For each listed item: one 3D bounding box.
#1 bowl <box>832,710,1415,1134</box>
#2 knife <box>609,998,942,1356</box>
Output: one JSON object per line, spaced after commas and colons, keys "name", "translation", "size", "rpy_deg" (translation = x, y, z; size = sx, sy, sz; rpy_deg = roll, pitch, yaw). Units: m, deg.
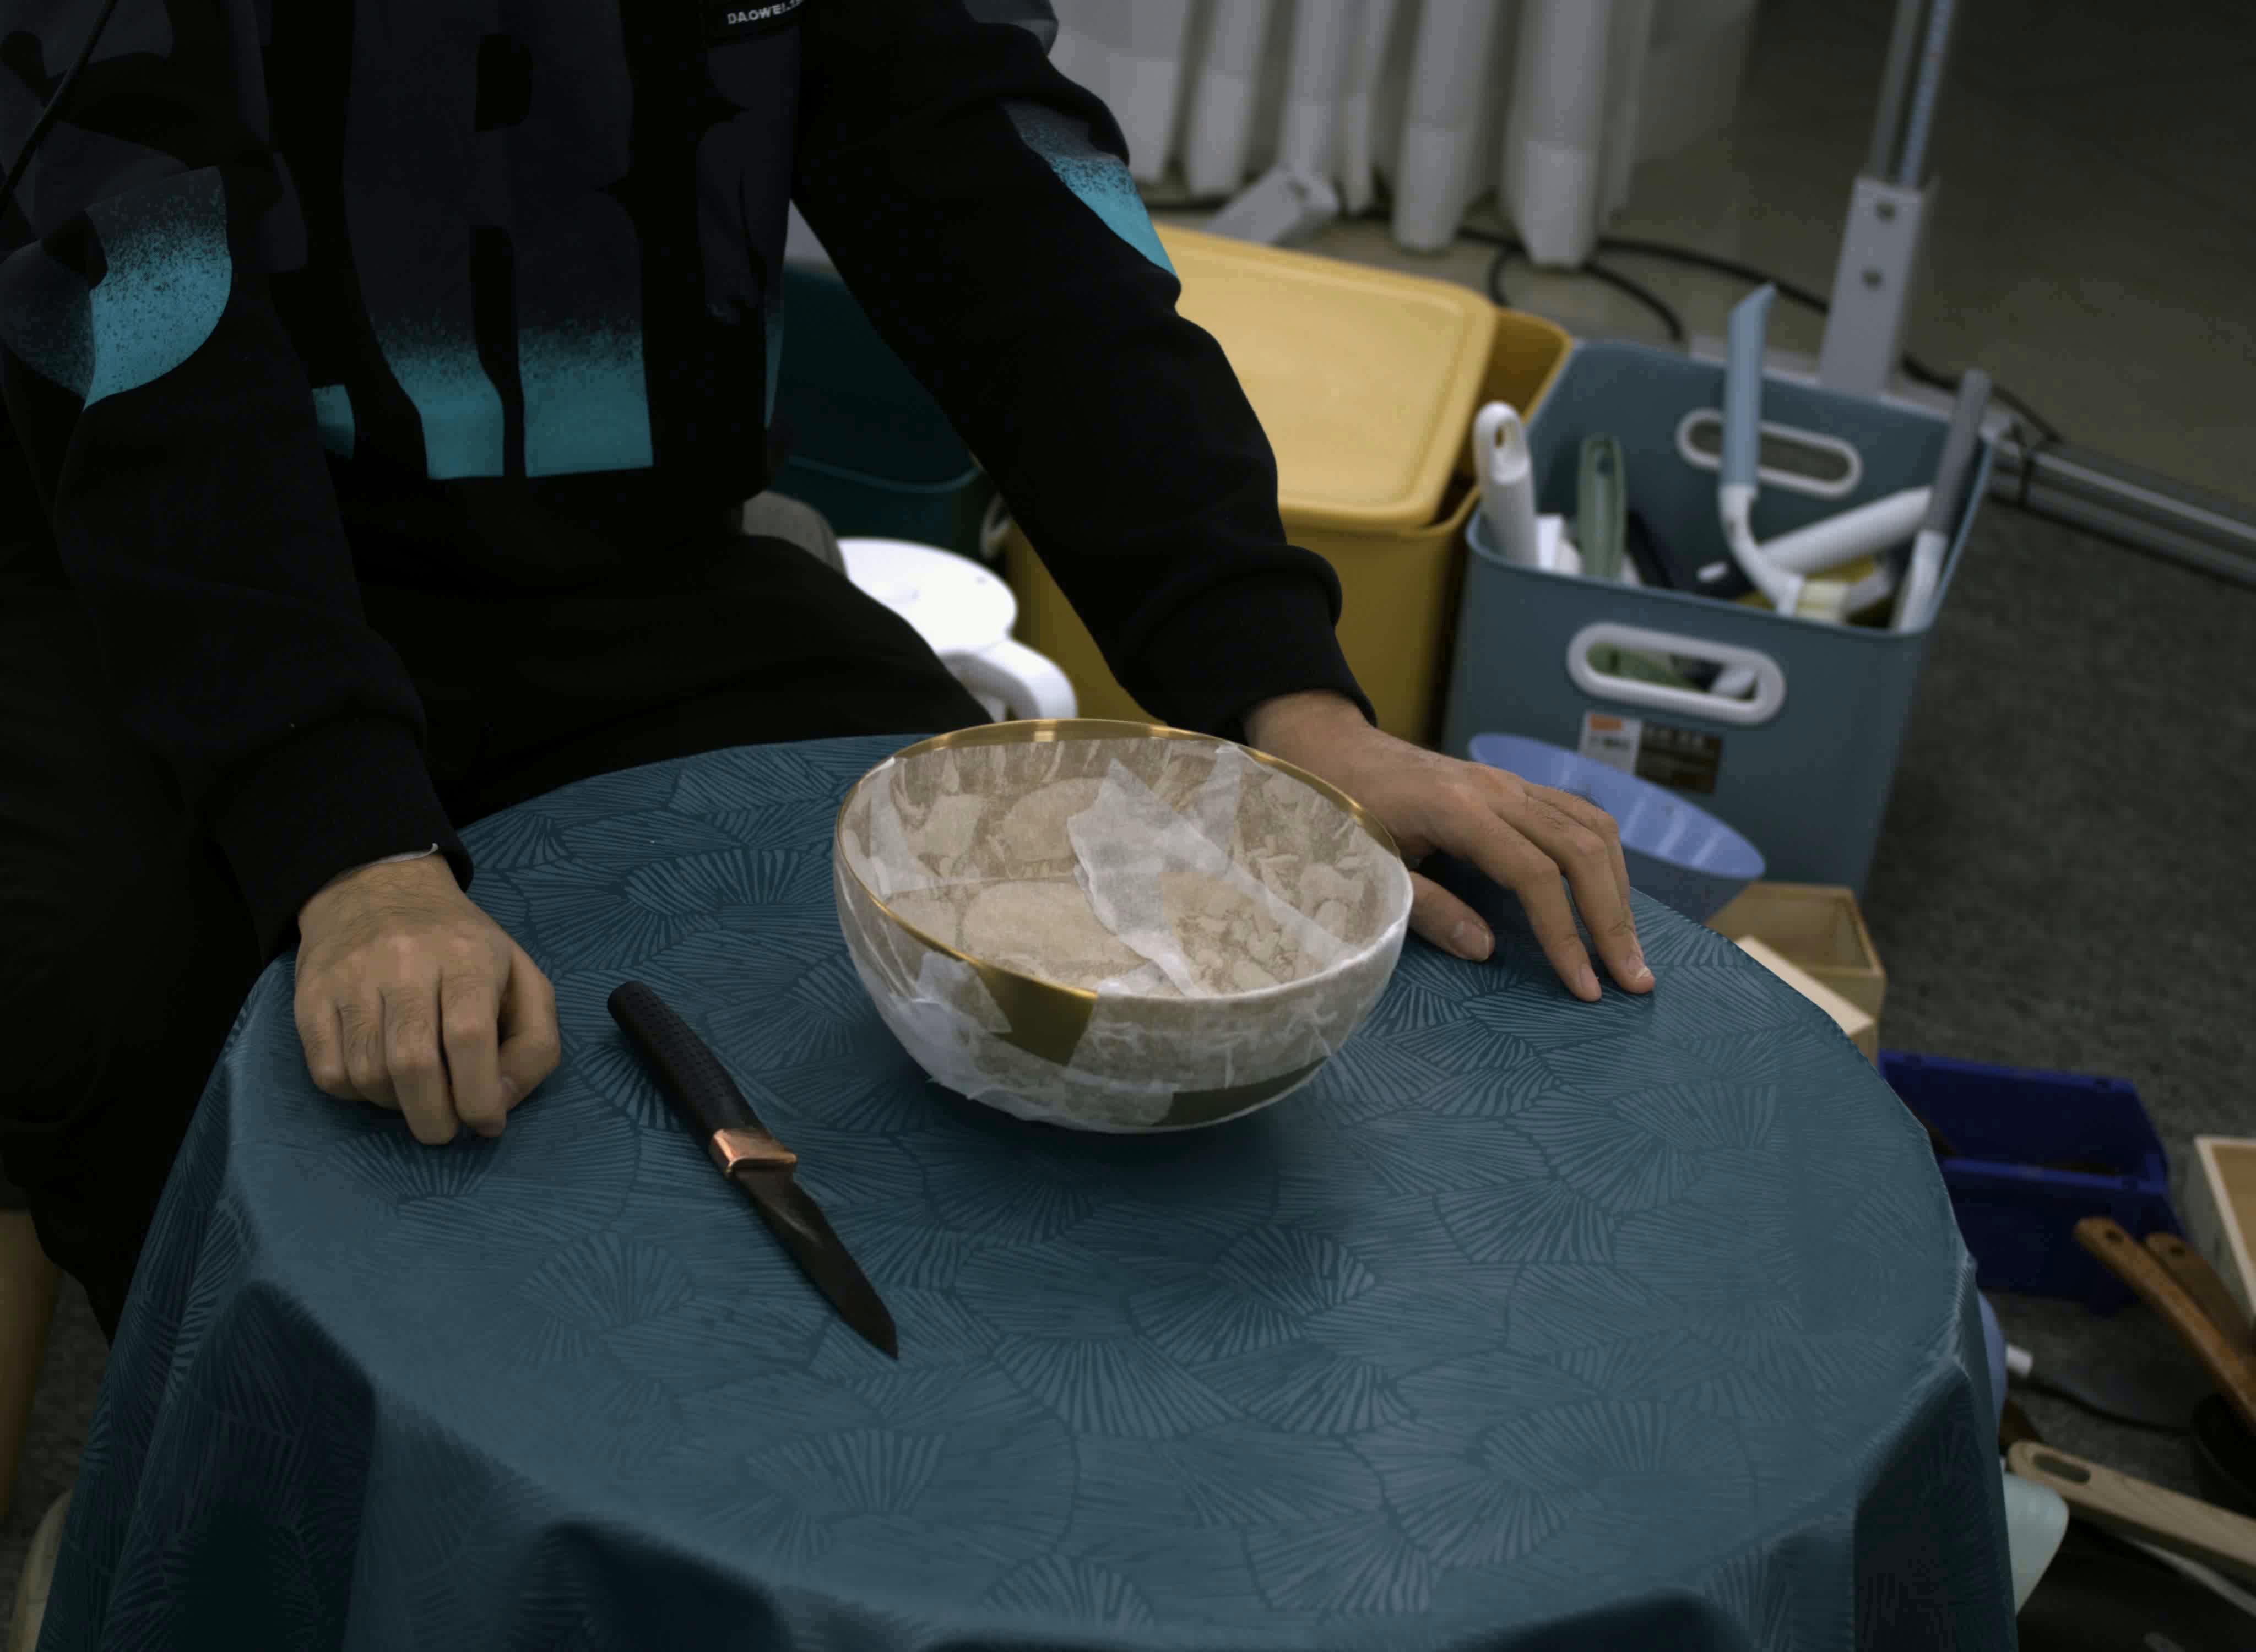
{"name": "bowl", "translation": [-0.006, 0.045, 1.852], "size": [0.214, 0.094, 0.216], "rpy_deg": [4, 28, -2]}
{"name": "knife", "translation": [-0.121, 0.116, 1.779], "size": [0.026, 0.017, 0.227], "rpy_deg": [-1, 28, -32]}
